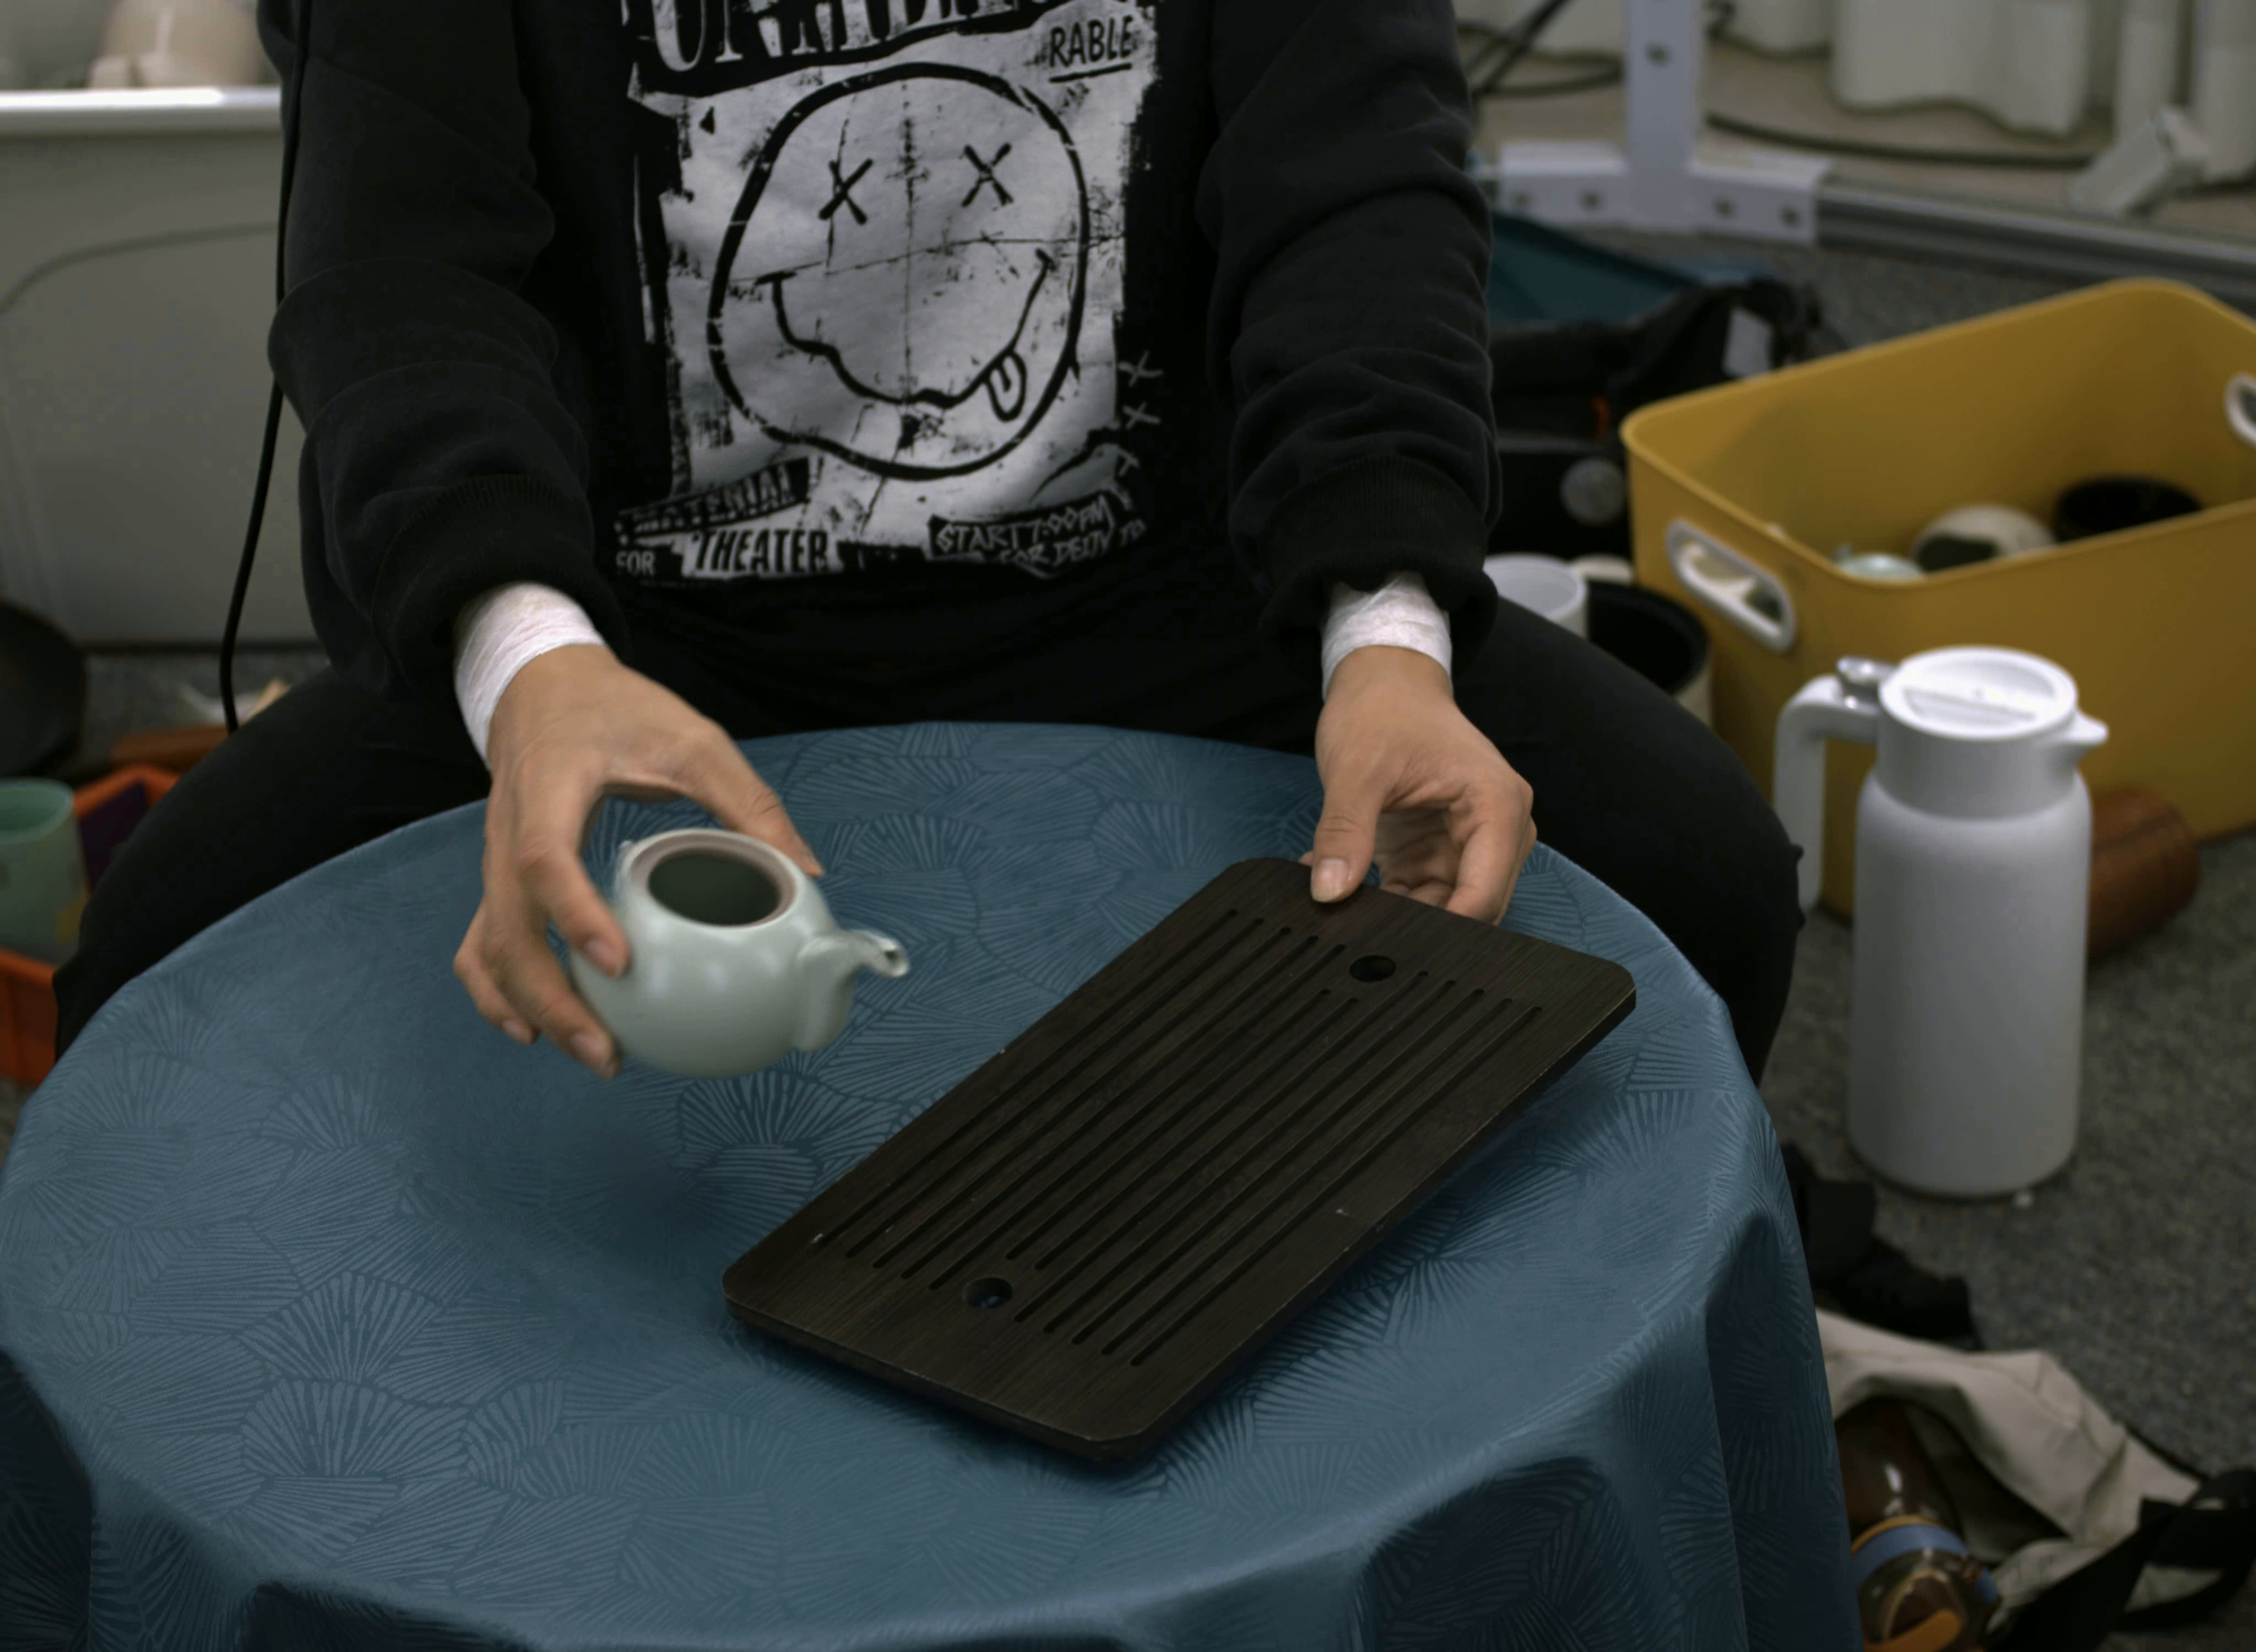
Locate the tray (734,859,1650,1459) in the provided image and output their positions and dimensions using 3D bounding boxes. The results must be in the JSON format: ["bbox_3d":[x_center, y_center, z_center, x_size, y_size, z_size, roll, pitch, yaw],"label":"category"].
[{"bbox_3d":[0.026,0.106,1.847,0.169,0.018,0.310,17,37,33],"label":"tray"}]

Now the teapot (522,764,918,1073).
[{"bbox_3d":[-0.137,0.038,1.830,0.143,0.073,0.090,28,34,16],"label":"teapot"}]
